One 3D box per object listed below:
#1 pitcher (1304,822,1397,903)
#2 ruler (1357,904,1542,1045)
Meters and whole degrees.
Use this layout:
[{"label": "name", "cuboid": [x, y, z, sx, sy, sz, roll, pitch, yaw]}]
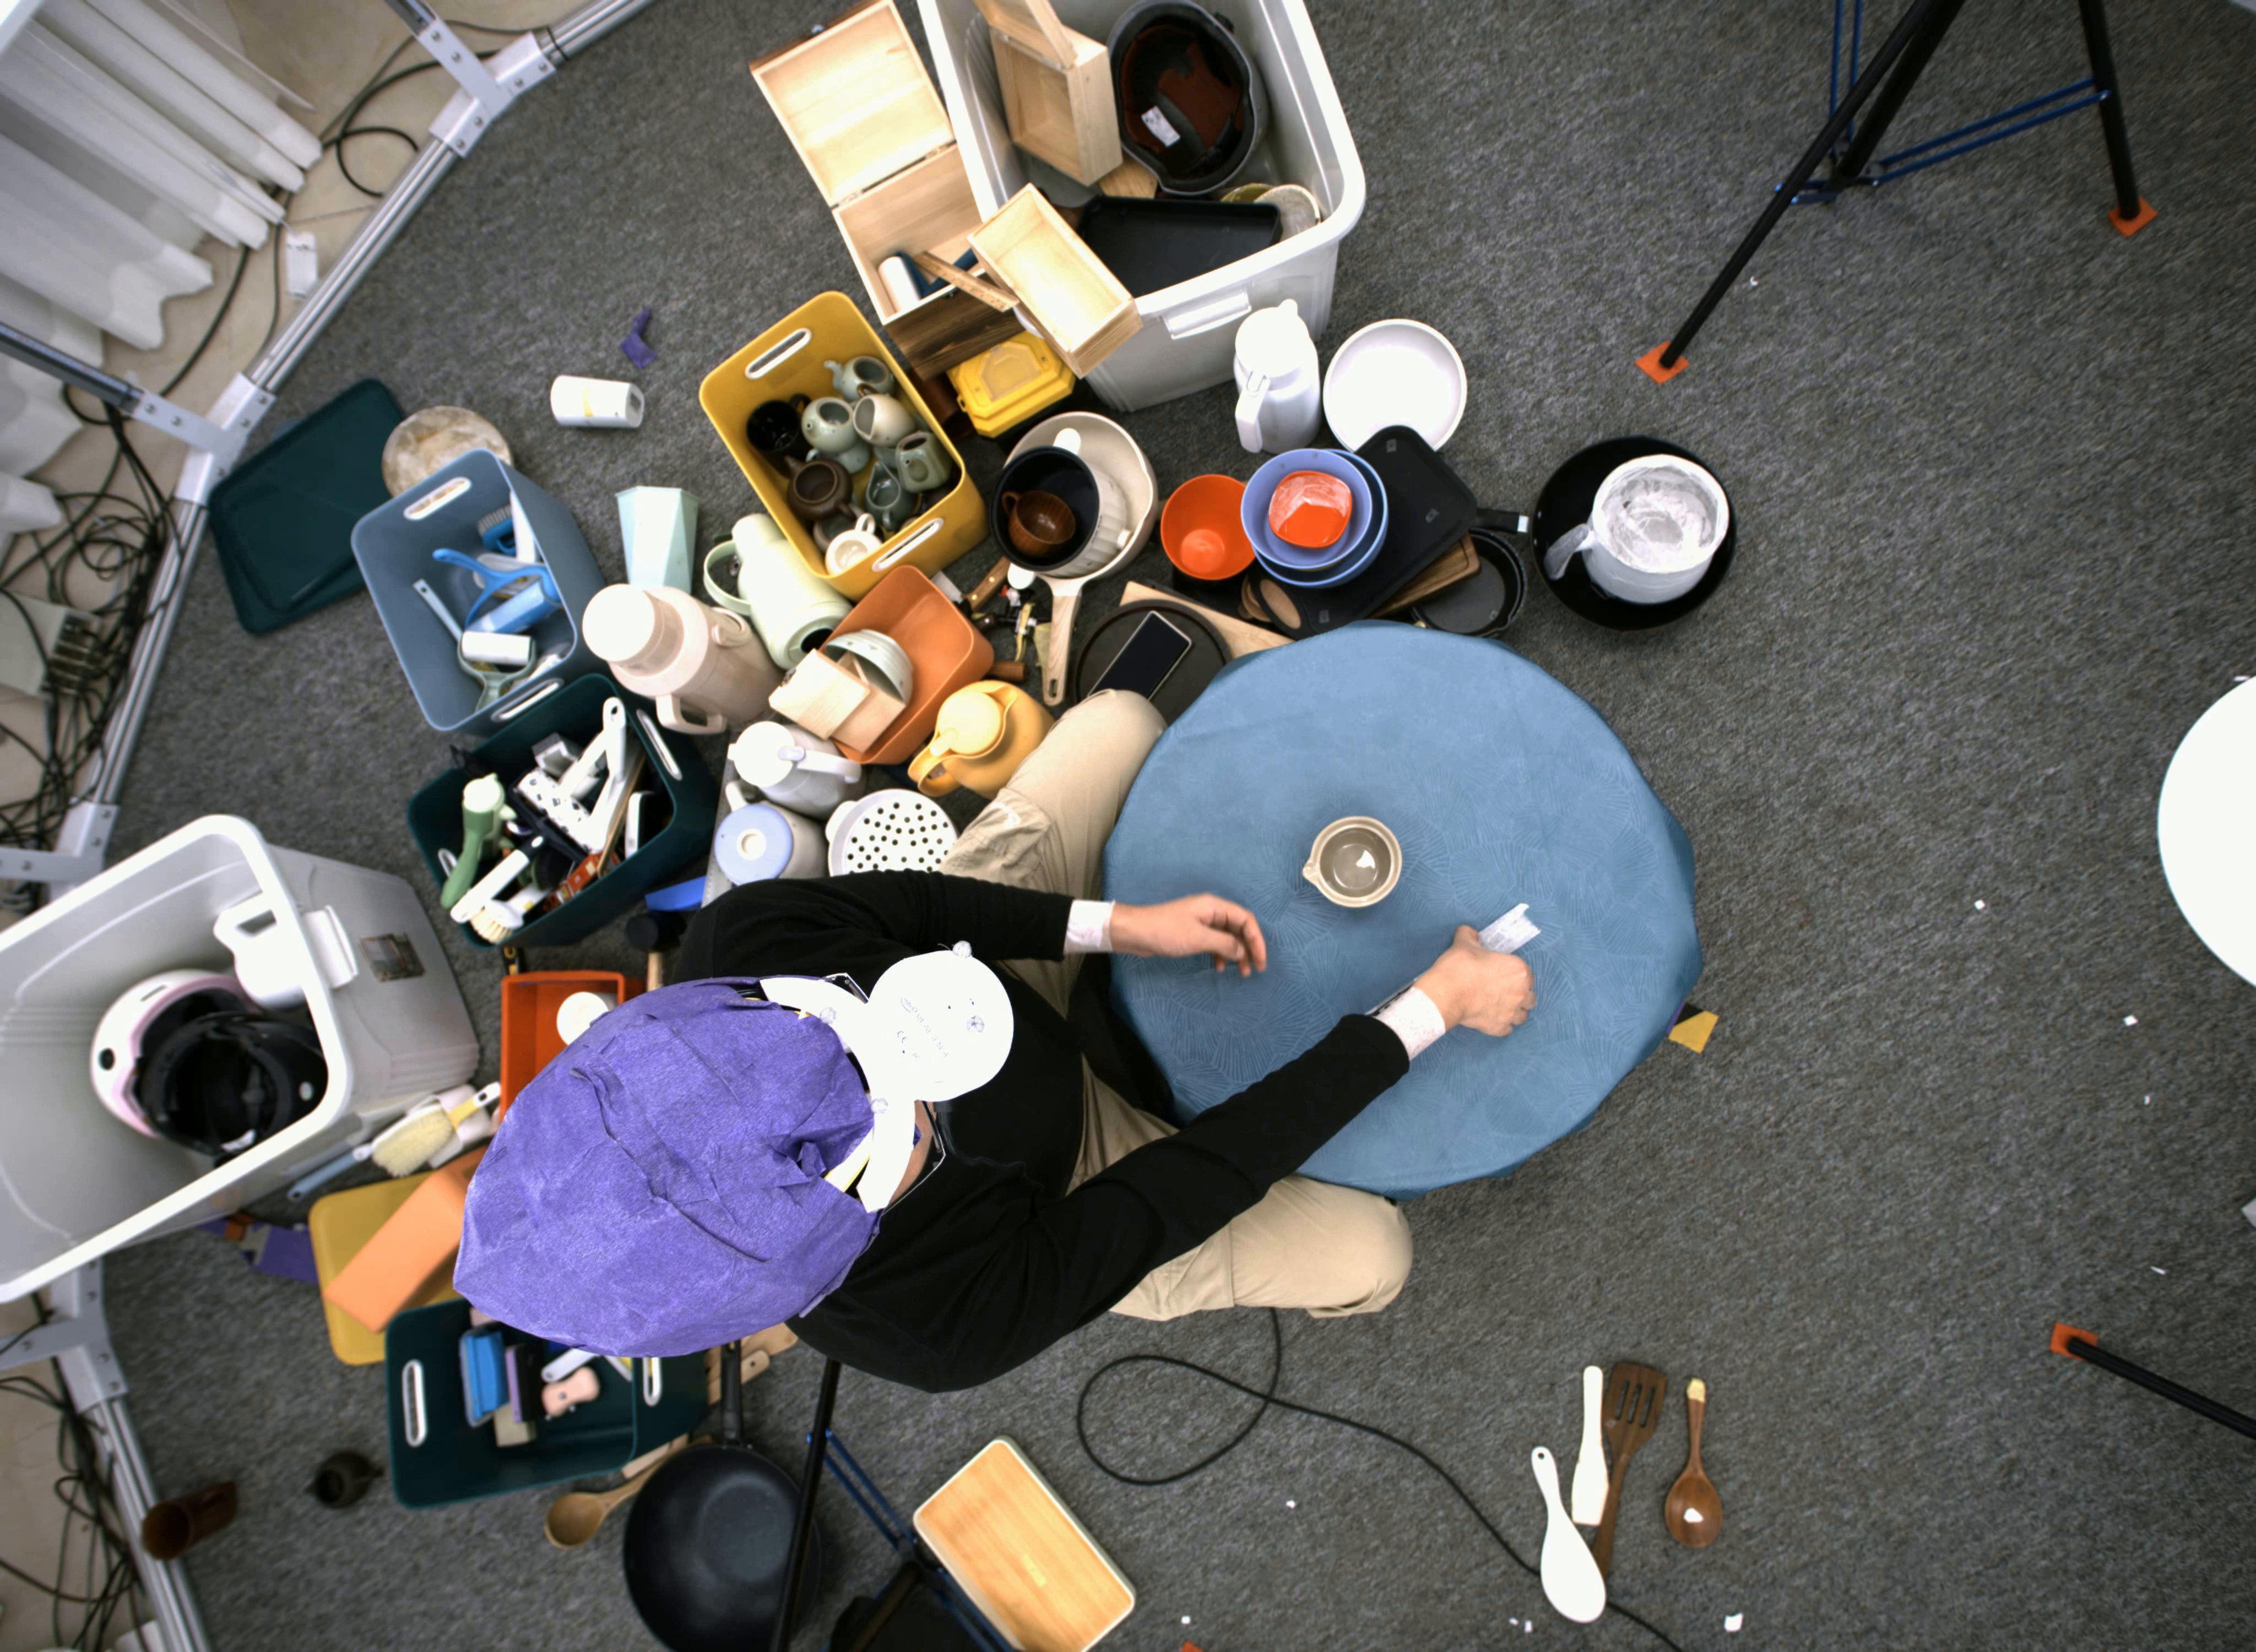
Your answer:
[{"label": "pitcher", "cuboid": [0.231, 0.039, 1.432, 0.096, 0.071, 0.083, -13, 84, 8]}, {"label": "ruler", "cuboid": [0.331, 0.157, 1.433, 0.219, 0.024, 0.038, -36, 88, 8]}]
